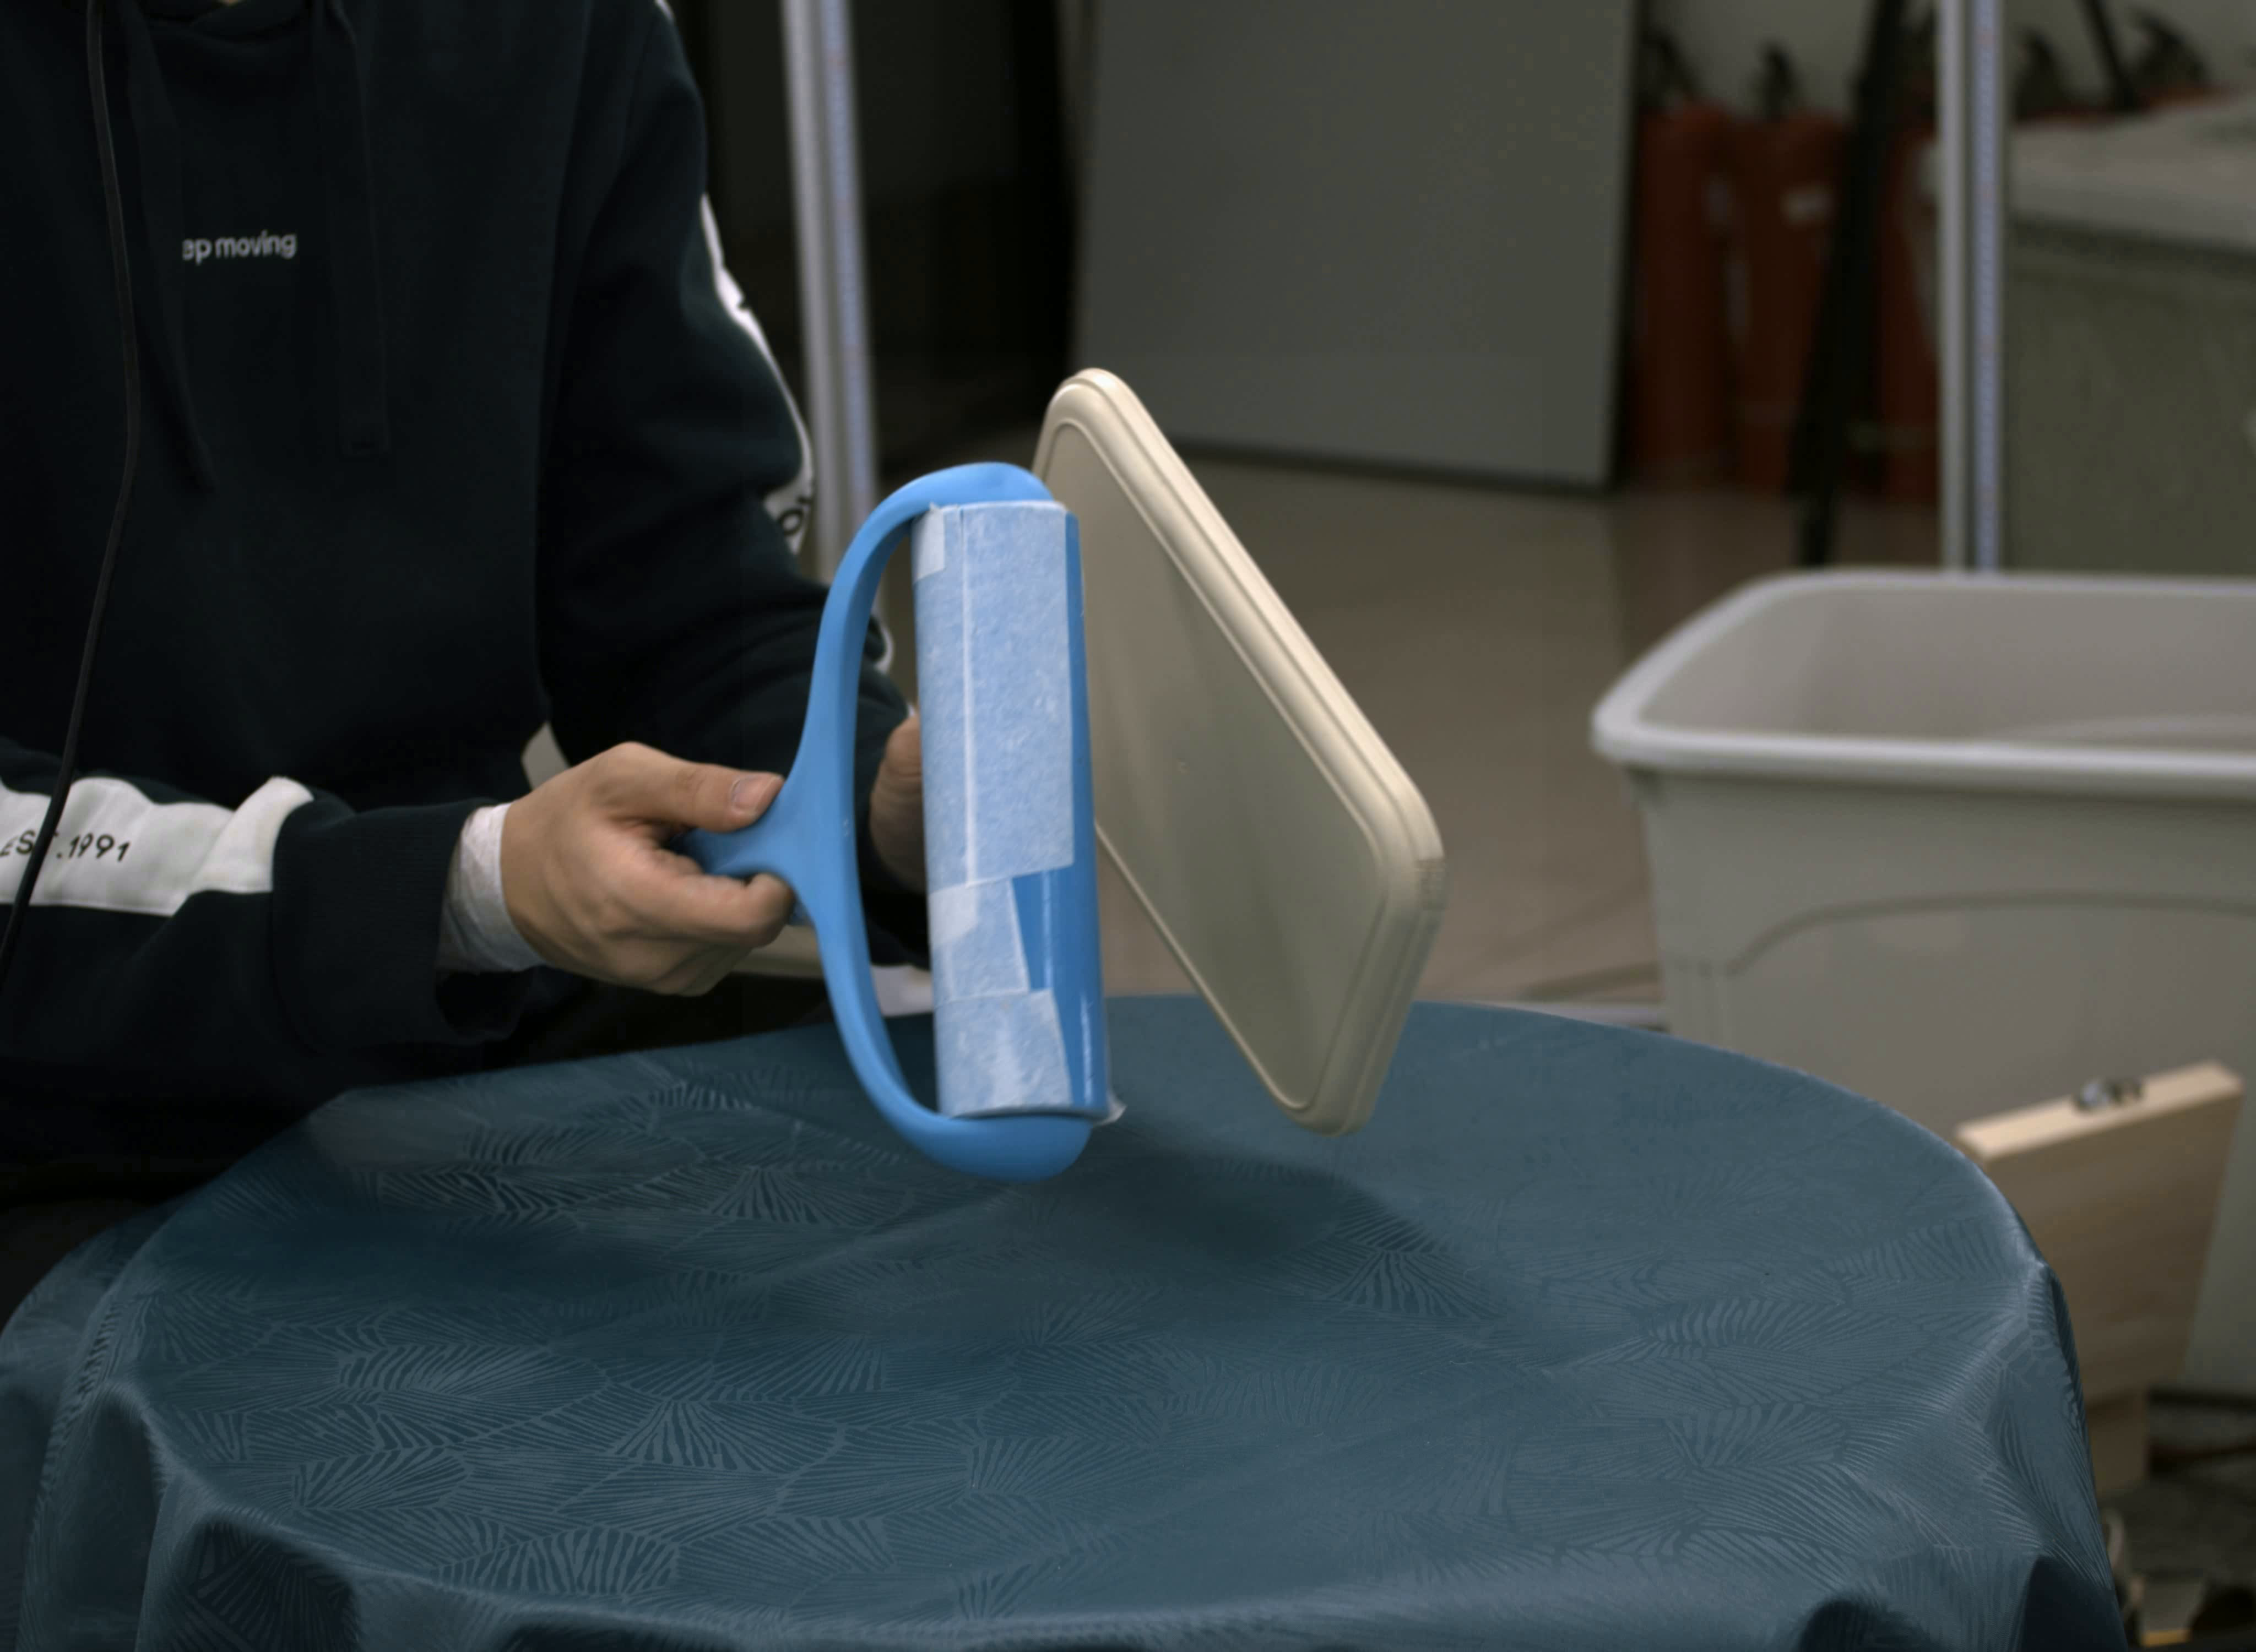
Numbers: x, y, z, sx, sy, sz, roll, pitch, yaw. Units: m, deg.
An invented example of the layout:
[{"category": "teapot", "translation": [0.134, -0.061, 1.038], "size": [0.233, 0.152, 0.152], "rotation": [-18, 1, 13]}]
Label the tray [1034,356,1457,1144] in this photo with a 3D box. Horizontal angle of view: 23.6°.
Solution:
[{"category": "tray", "translation": [0.026, -0.023, 1.763], "size": [0.017, 0.172, 0.242], "rotation": [-18, 57, -26]}]

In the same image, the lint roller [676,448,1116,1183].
[{"category": "lint roller", "translation": [-0.086, 0.008, 1.705], "size": [0.181, 0.232, 0.066], "rotation": [-14, -14, 32]}]
